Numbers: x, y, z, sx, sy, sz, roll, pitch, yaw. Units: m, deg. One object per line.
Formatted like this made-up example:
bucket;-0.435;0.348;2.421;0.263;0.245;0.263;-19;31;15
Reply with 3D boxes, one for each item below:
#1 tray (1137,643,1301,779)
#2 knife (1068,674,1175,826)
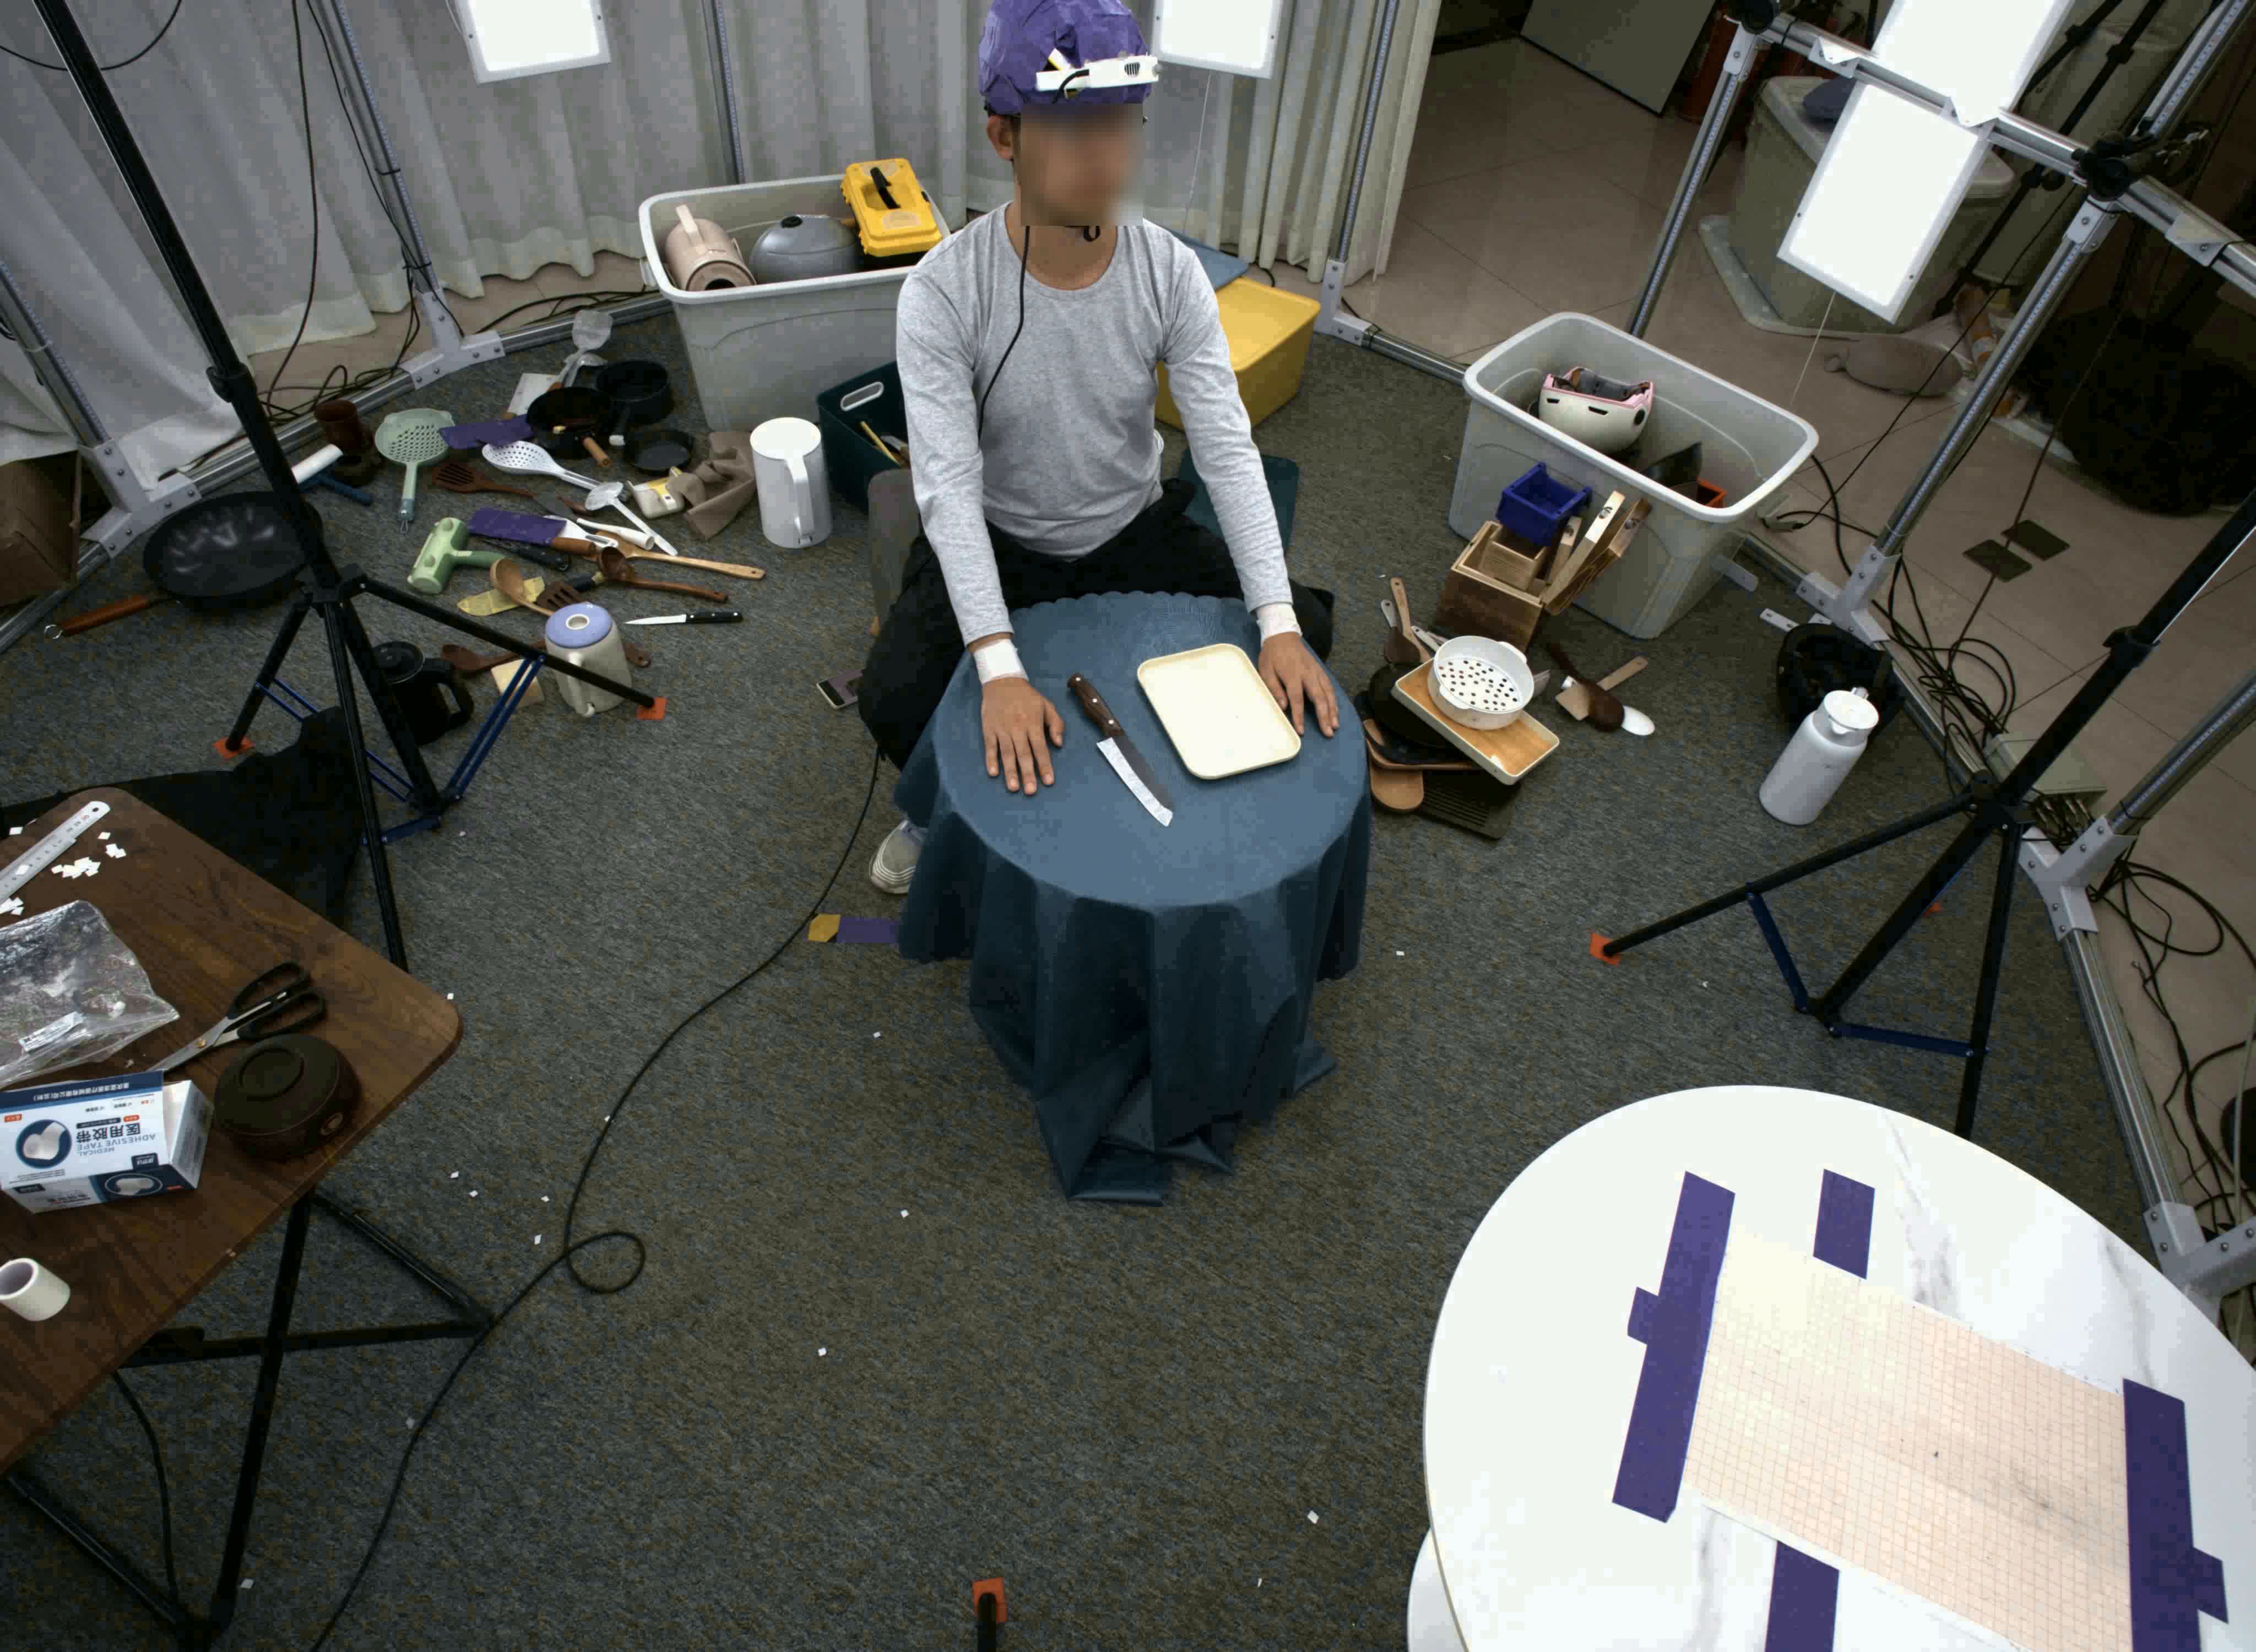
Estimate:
tray;0.126;-0.163;1.806;0.171;0.017;0.245;-14;51;-16
knife;-0.011;-0.106;1.749;0.050;0.019;0.295;-22;56;-15
